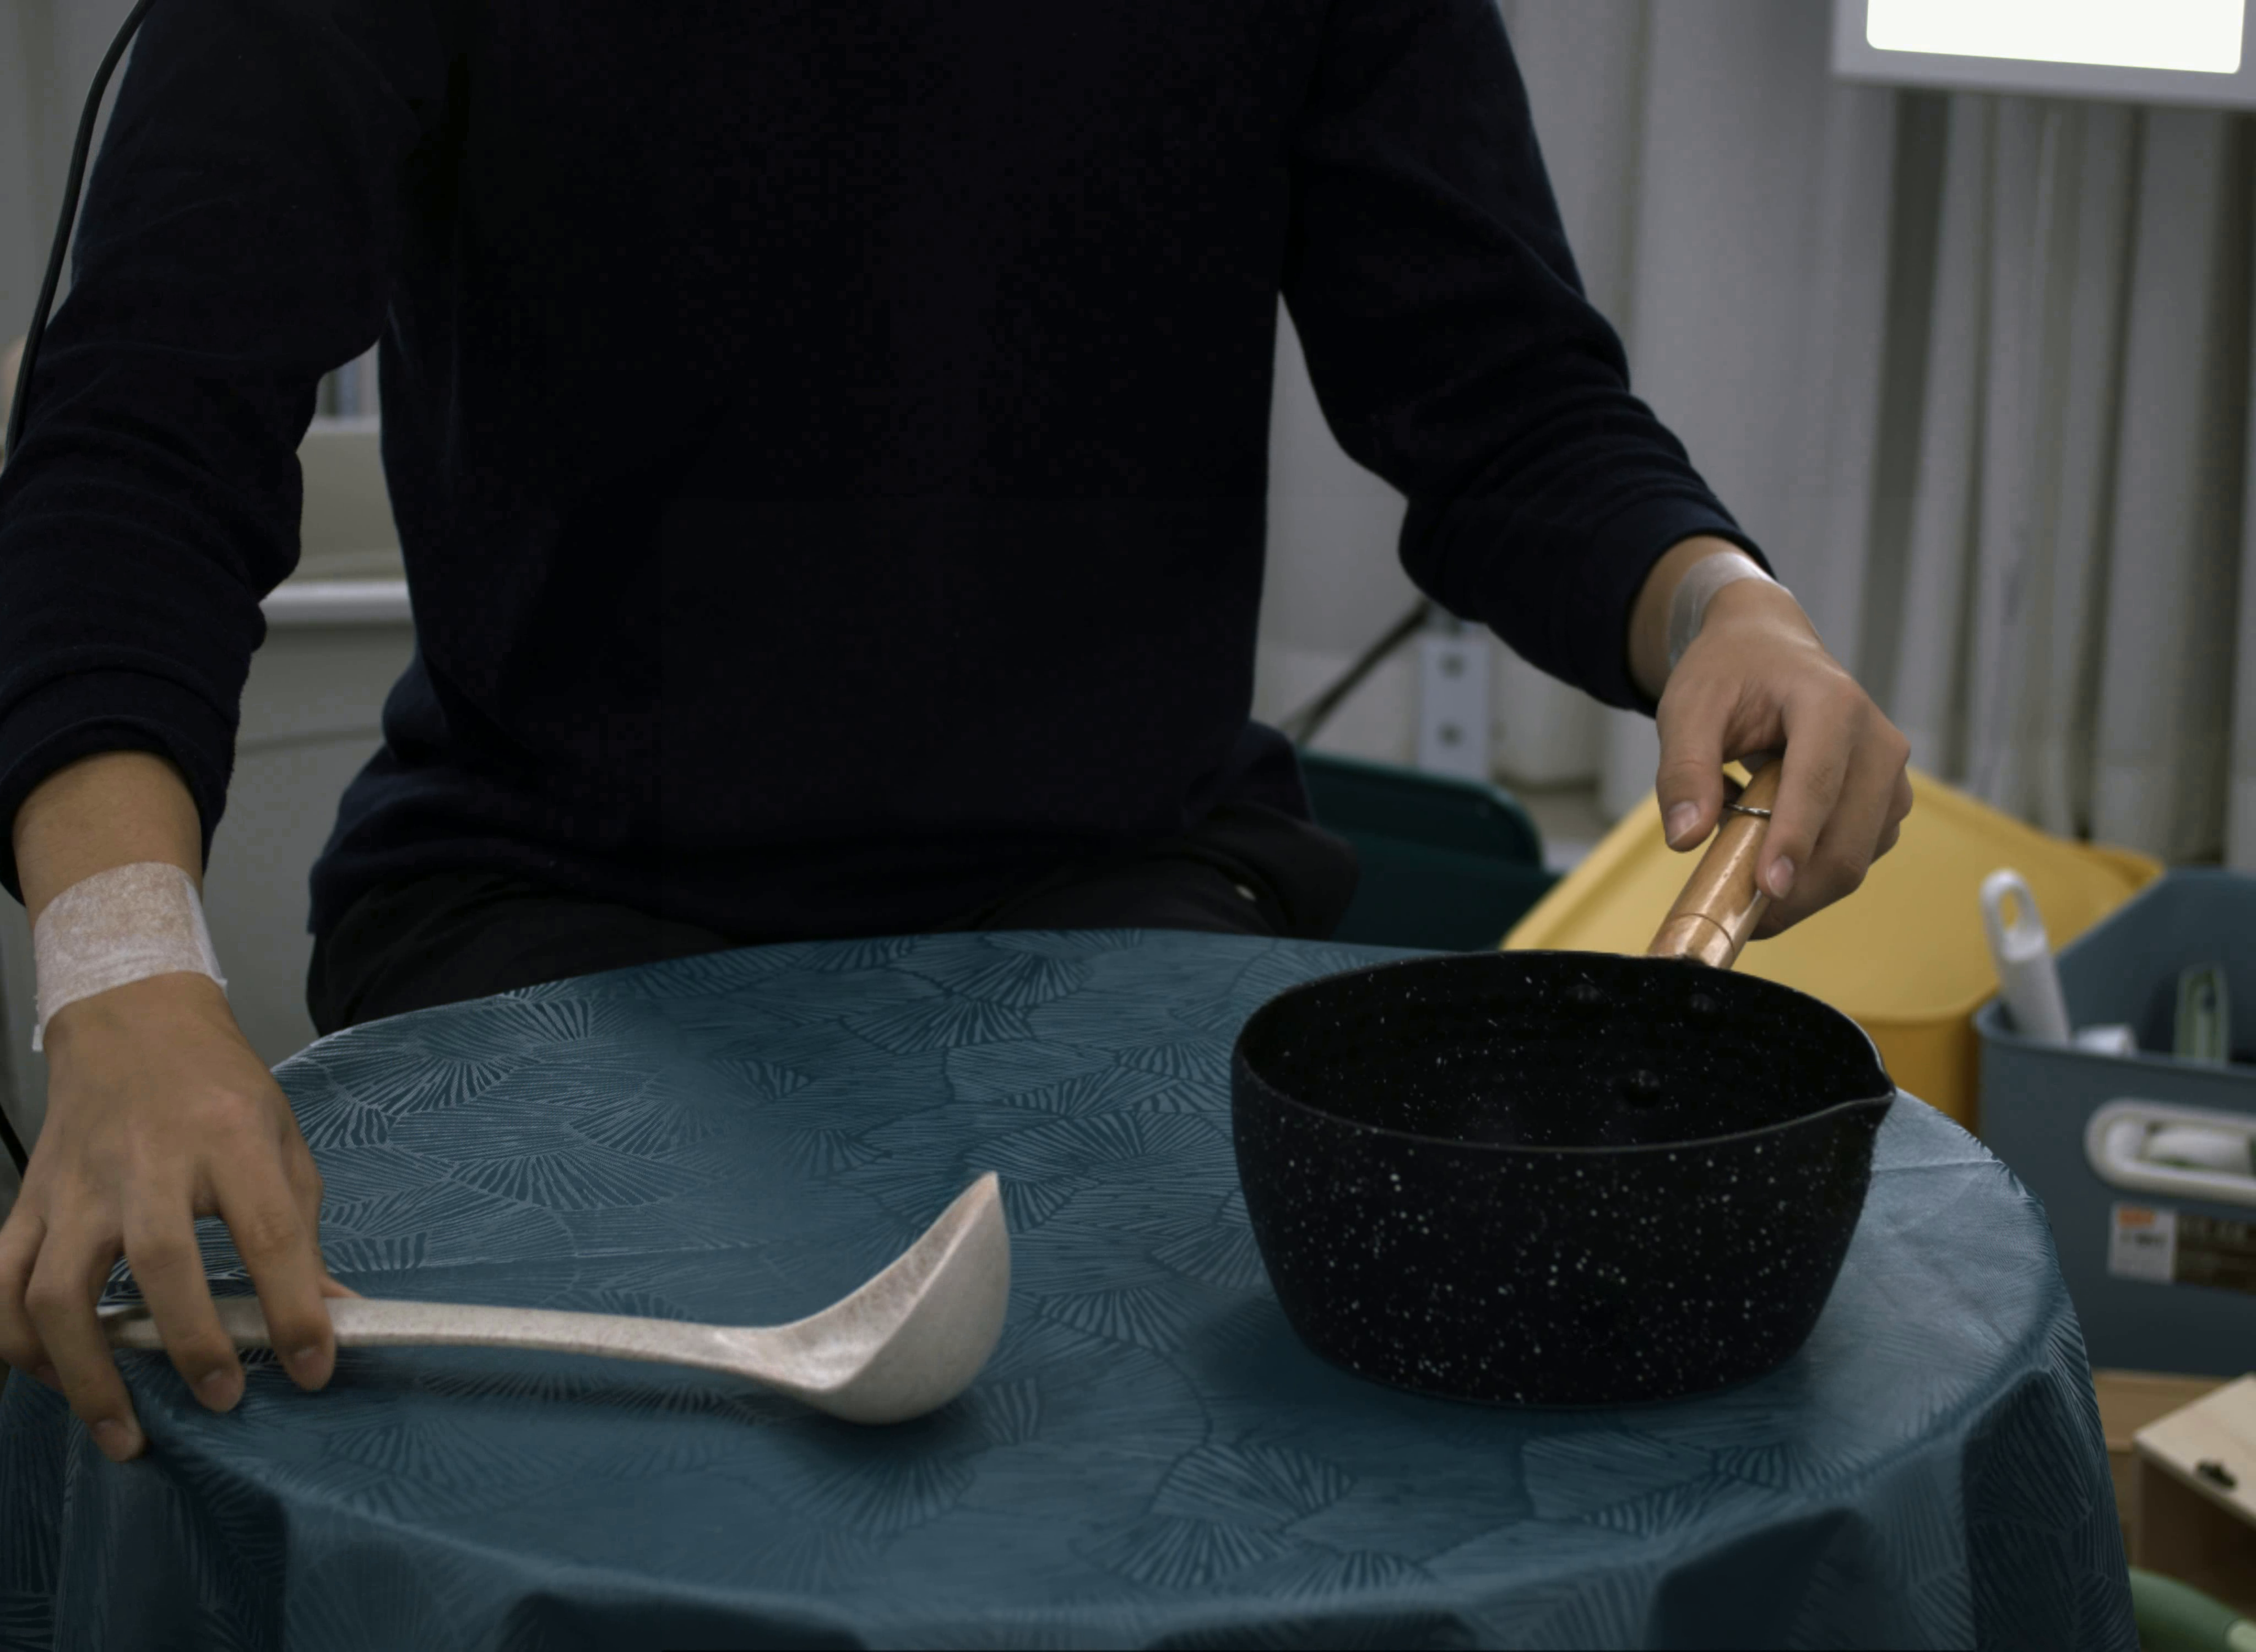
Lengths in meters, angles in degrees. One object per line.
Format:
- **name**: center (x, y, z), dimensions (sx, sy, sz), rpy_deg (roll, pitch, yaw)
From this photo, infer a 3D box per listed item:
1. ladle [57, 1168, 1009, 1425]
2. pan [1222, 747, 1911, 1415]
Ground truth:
- **ladle**: center (-0.168, 0.124, 1.453), dimensions (0.273, 0.070, 0.089), rpy_deg (2, 22, 9)
- **pan**: center (0.150, 0.070, 1.575), dimensions (0.205, 0.109, 0.343), rpy_deg (5, 18, 21)
